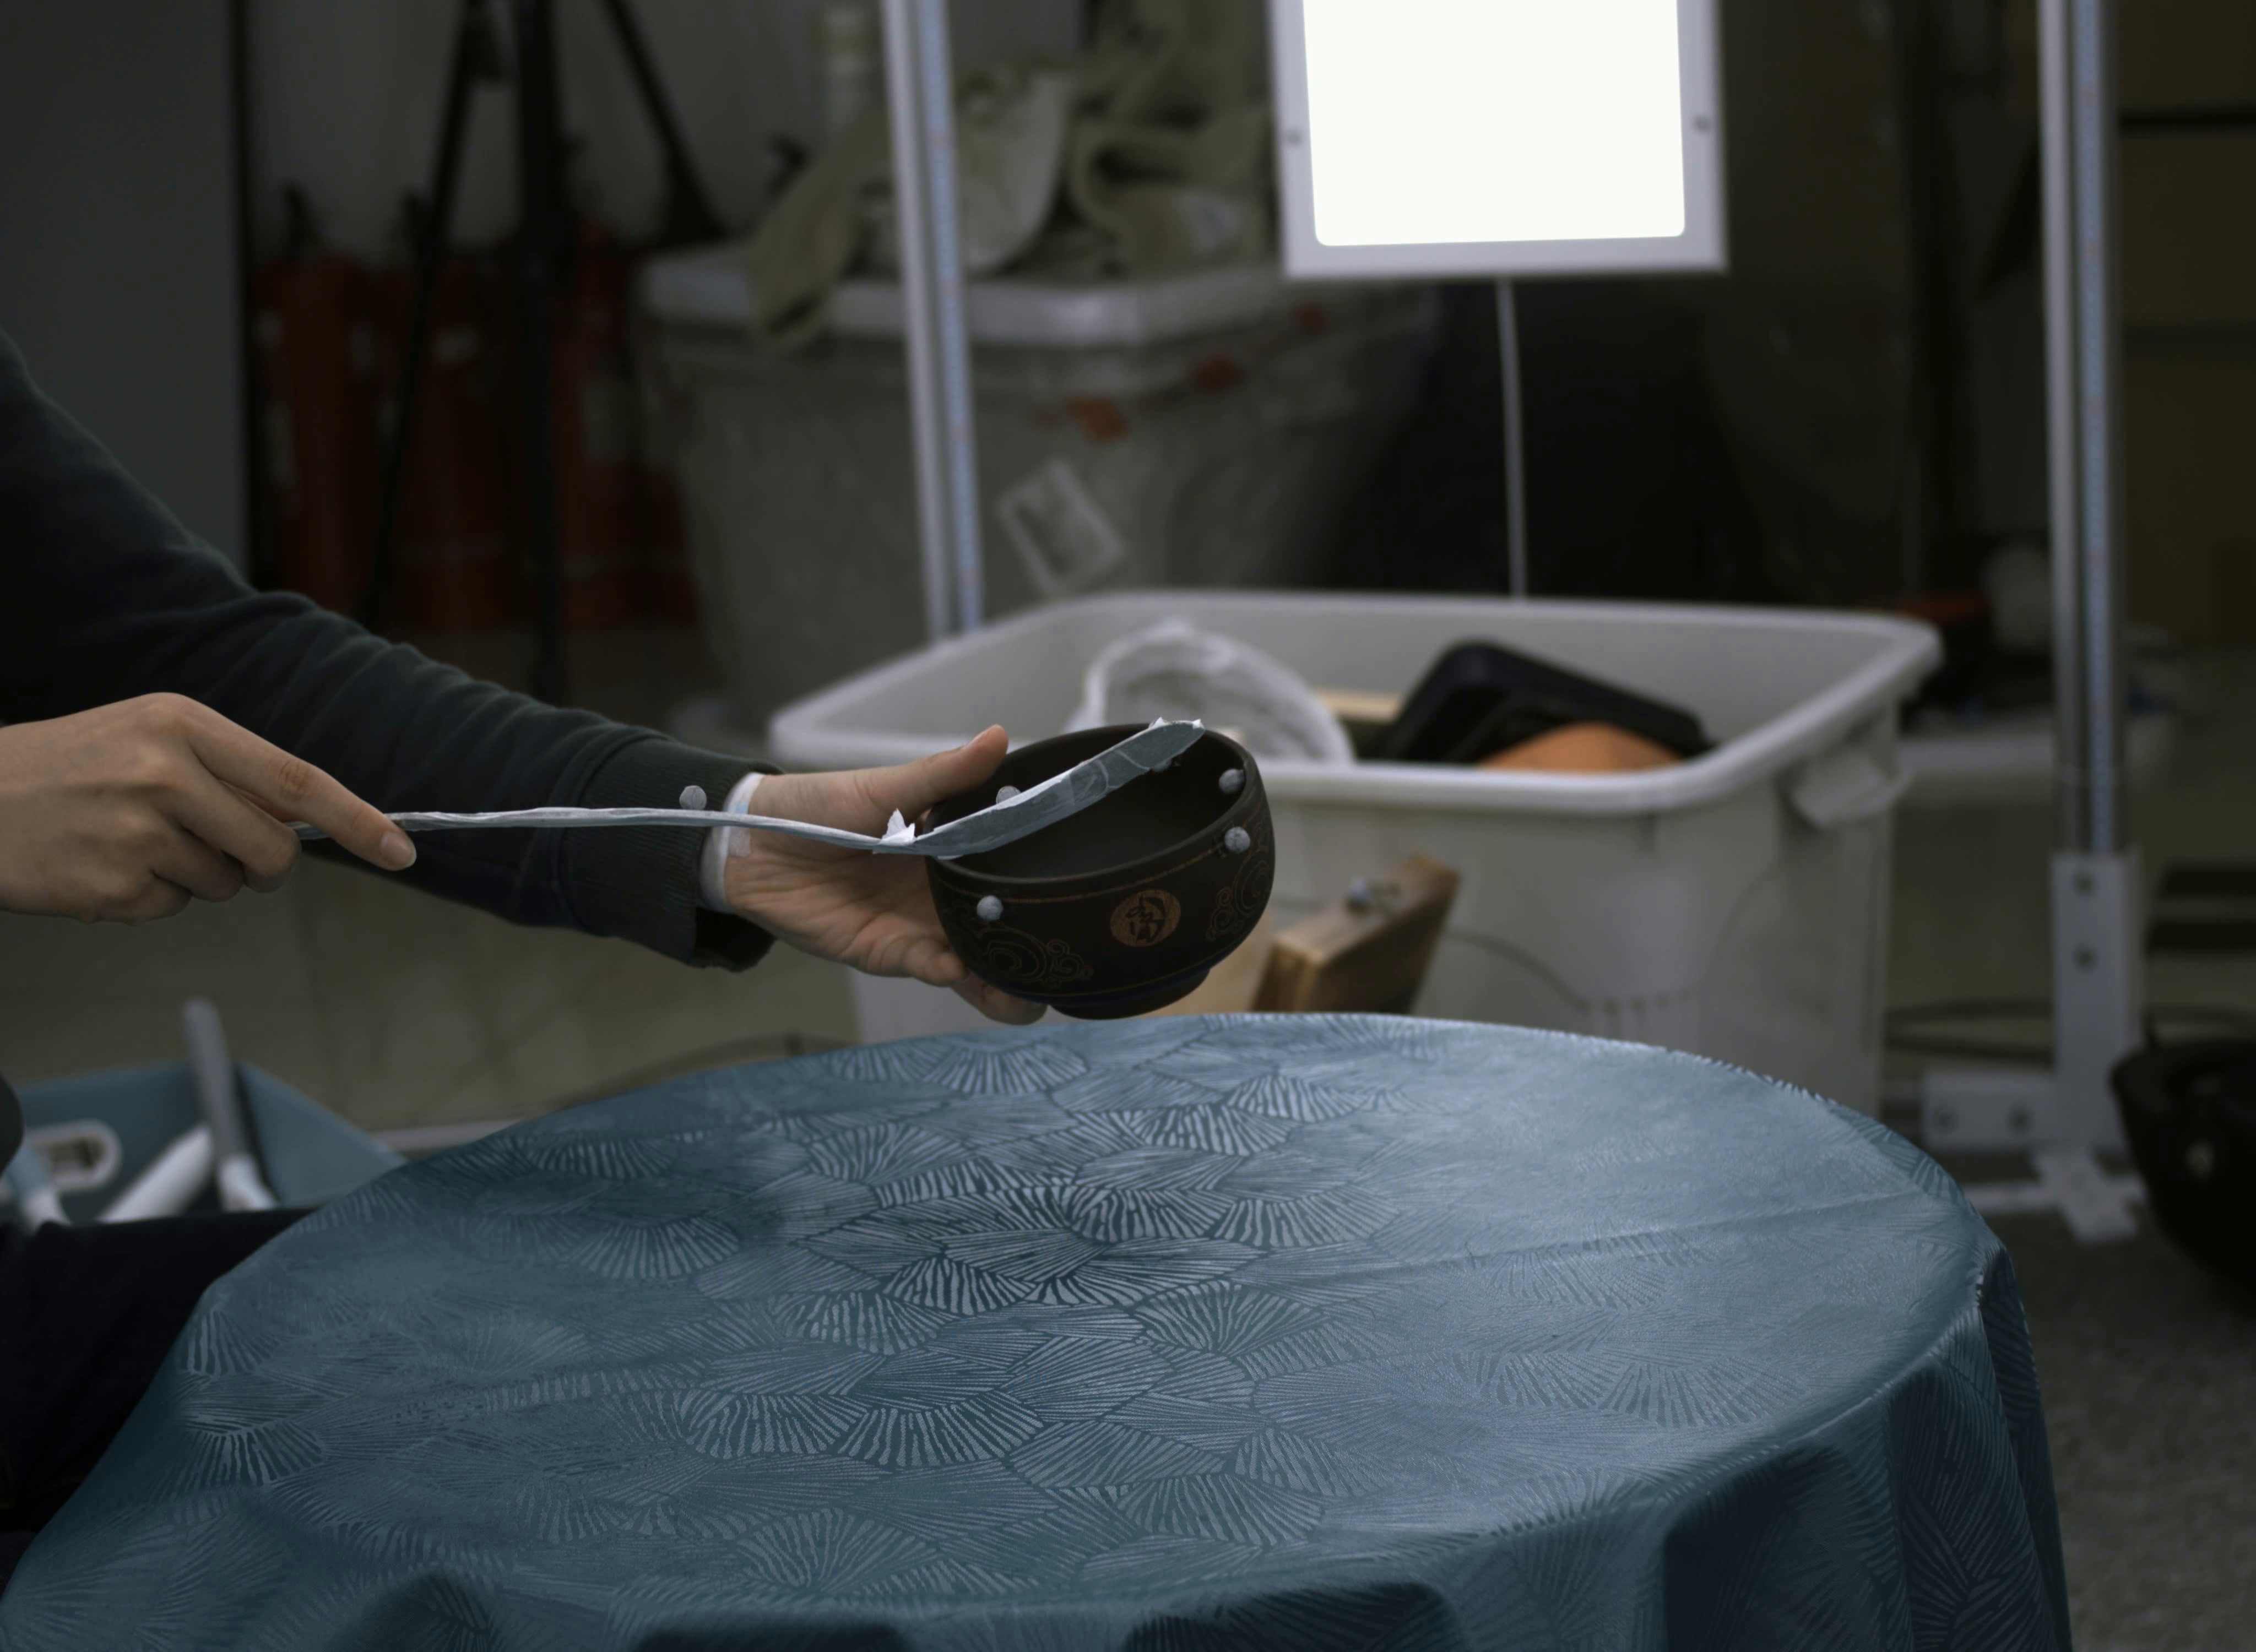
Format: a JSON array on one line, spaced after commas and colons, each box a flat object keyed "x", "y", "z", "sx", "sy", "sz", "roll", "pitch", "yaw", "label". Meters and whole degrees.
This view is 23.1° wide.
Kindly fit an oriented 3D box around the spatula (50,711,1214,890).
[{"x": -0.154, "y": -0.007, "z": 1.703, "sx": 0.364, "sy": 0.045, "sz": 0.098, "roll": -2, "pitch": -1, "yaw": 2, "label": "spatula"}]

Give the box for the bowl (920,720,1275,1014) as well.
[{"x": -0.007, "y": 0.019, "z": 1.839, "sx": 0.118, "sy": 0.070, "sz": 0.118, "roll": -12, "pitch": 23, "yaw": 4, "label": "bowl"}]
